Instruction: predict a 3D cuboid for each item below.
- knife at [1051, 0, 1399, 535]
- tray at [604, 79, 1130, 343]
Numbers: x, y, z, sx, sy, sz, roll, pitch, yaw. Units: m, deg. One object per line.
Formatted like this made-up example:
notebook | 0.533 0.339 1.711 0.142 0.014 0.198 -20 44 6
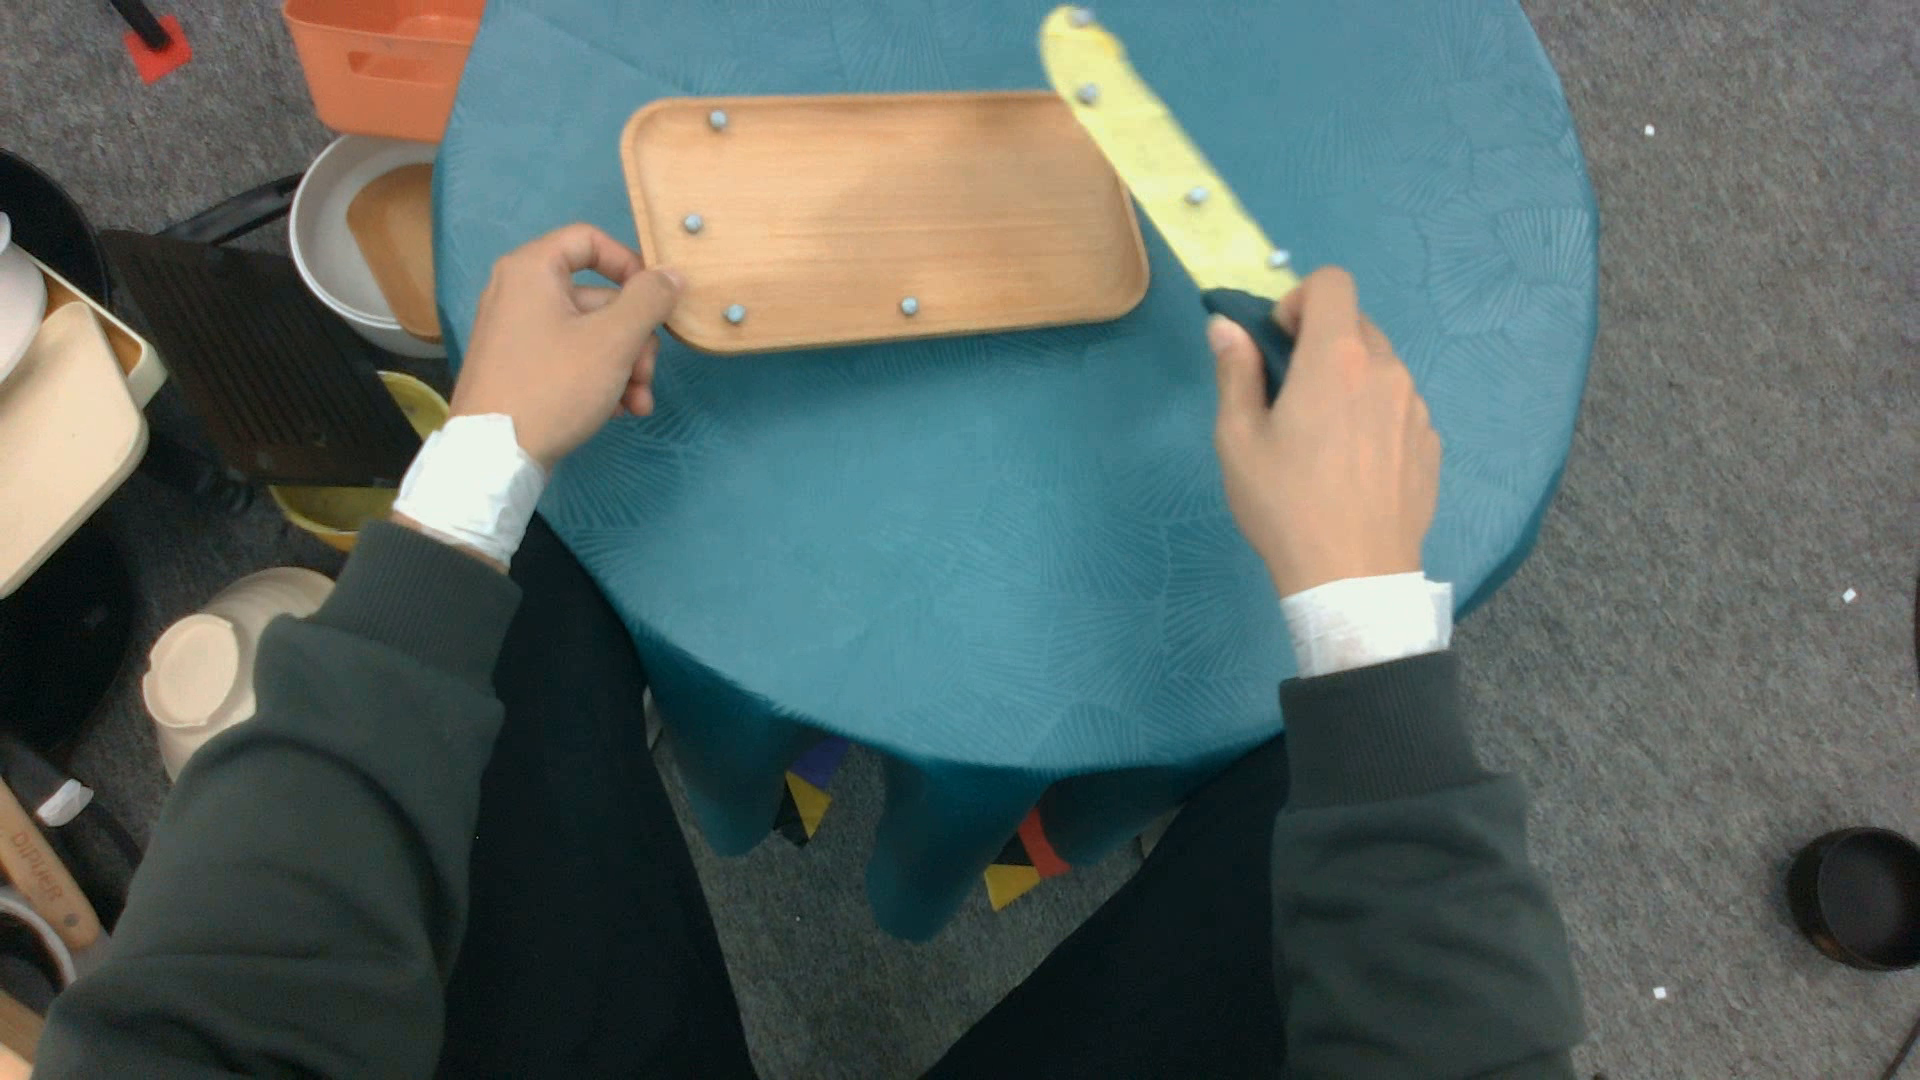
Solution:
knife | 0.122 -0.132 0.625 0.081 0.027 0.290 -21 77 -37
tray | -0.040 -0.163 0.668 0.251 0.023 0.131 -8 78 -22
